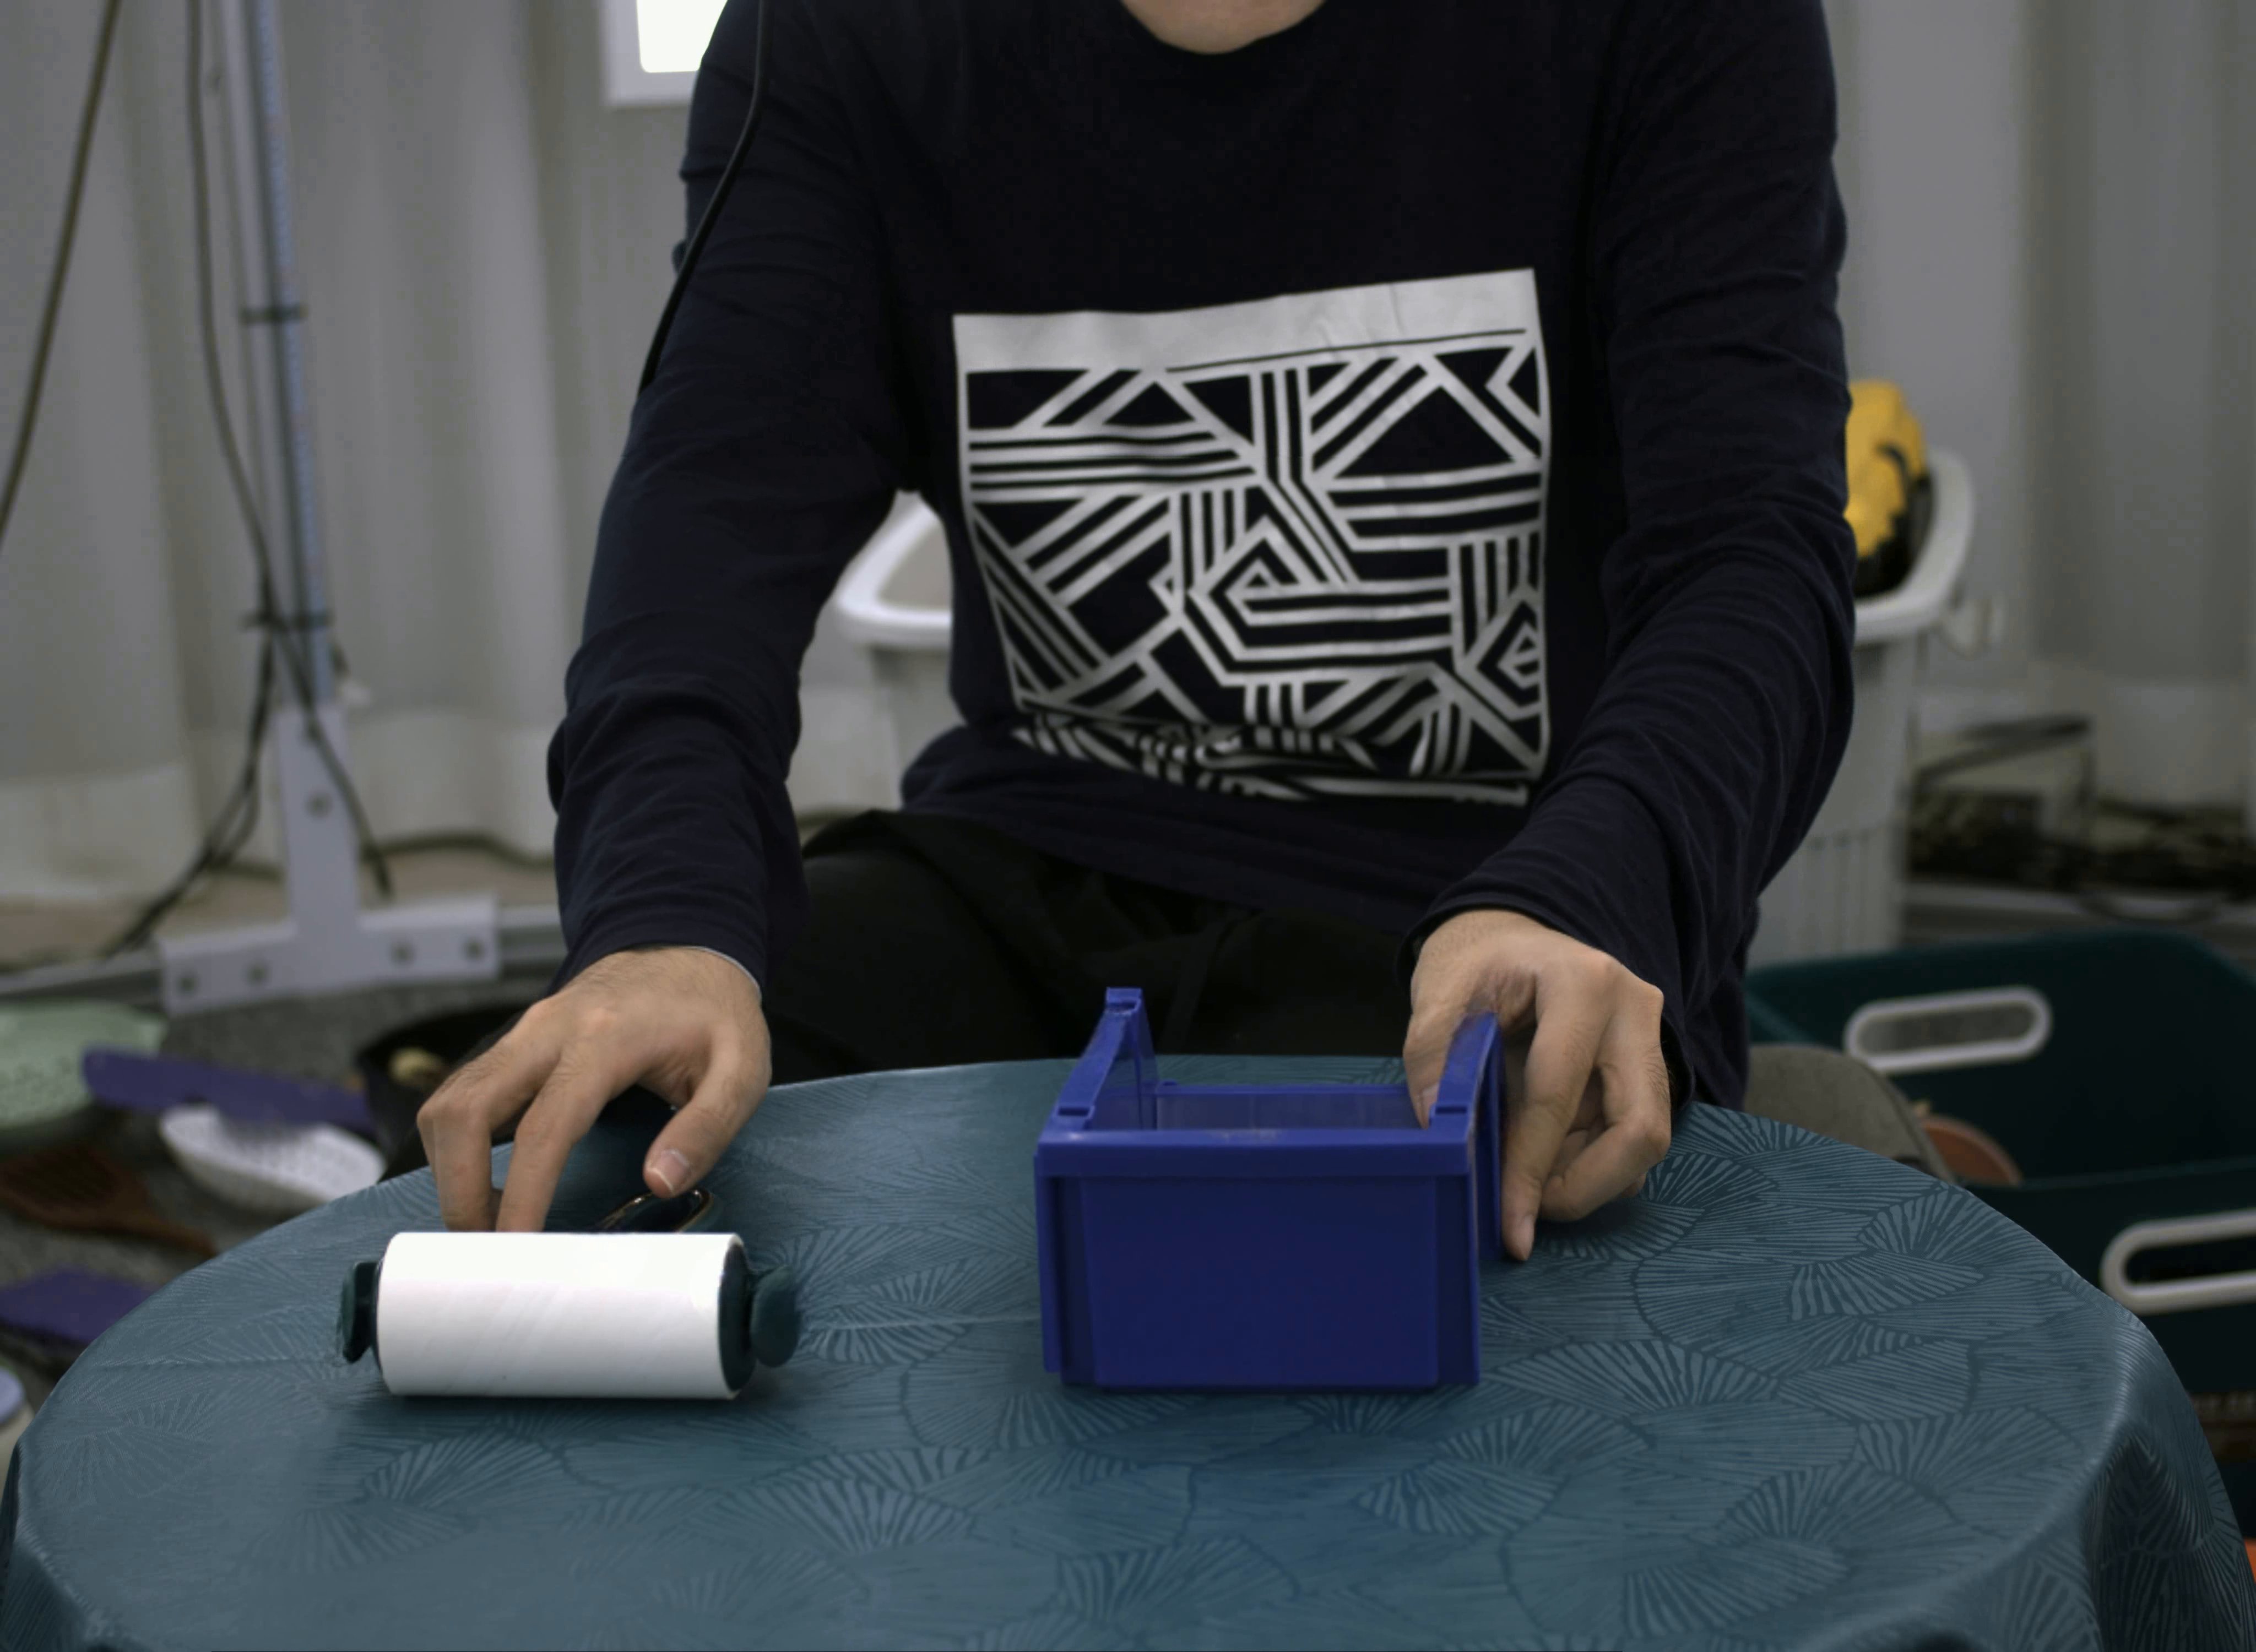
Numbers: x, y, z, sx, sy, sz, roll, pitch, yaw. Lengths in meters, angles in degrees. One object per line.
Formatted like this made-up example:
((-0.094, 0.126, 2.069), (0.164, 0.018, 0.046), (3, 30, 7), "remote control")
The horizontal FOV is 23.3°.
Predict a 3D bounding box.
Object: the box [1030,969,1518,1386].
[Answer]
((0.045, 0.099, 1.611), (0.124, 0.081, 0.180), (-1, 17, 10), "box")

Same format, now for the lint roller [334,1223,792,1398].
((-0.153, 0.126, 1.626), (0.134, 0.048, 0.181), (0, 12, 8), "lint roller")
